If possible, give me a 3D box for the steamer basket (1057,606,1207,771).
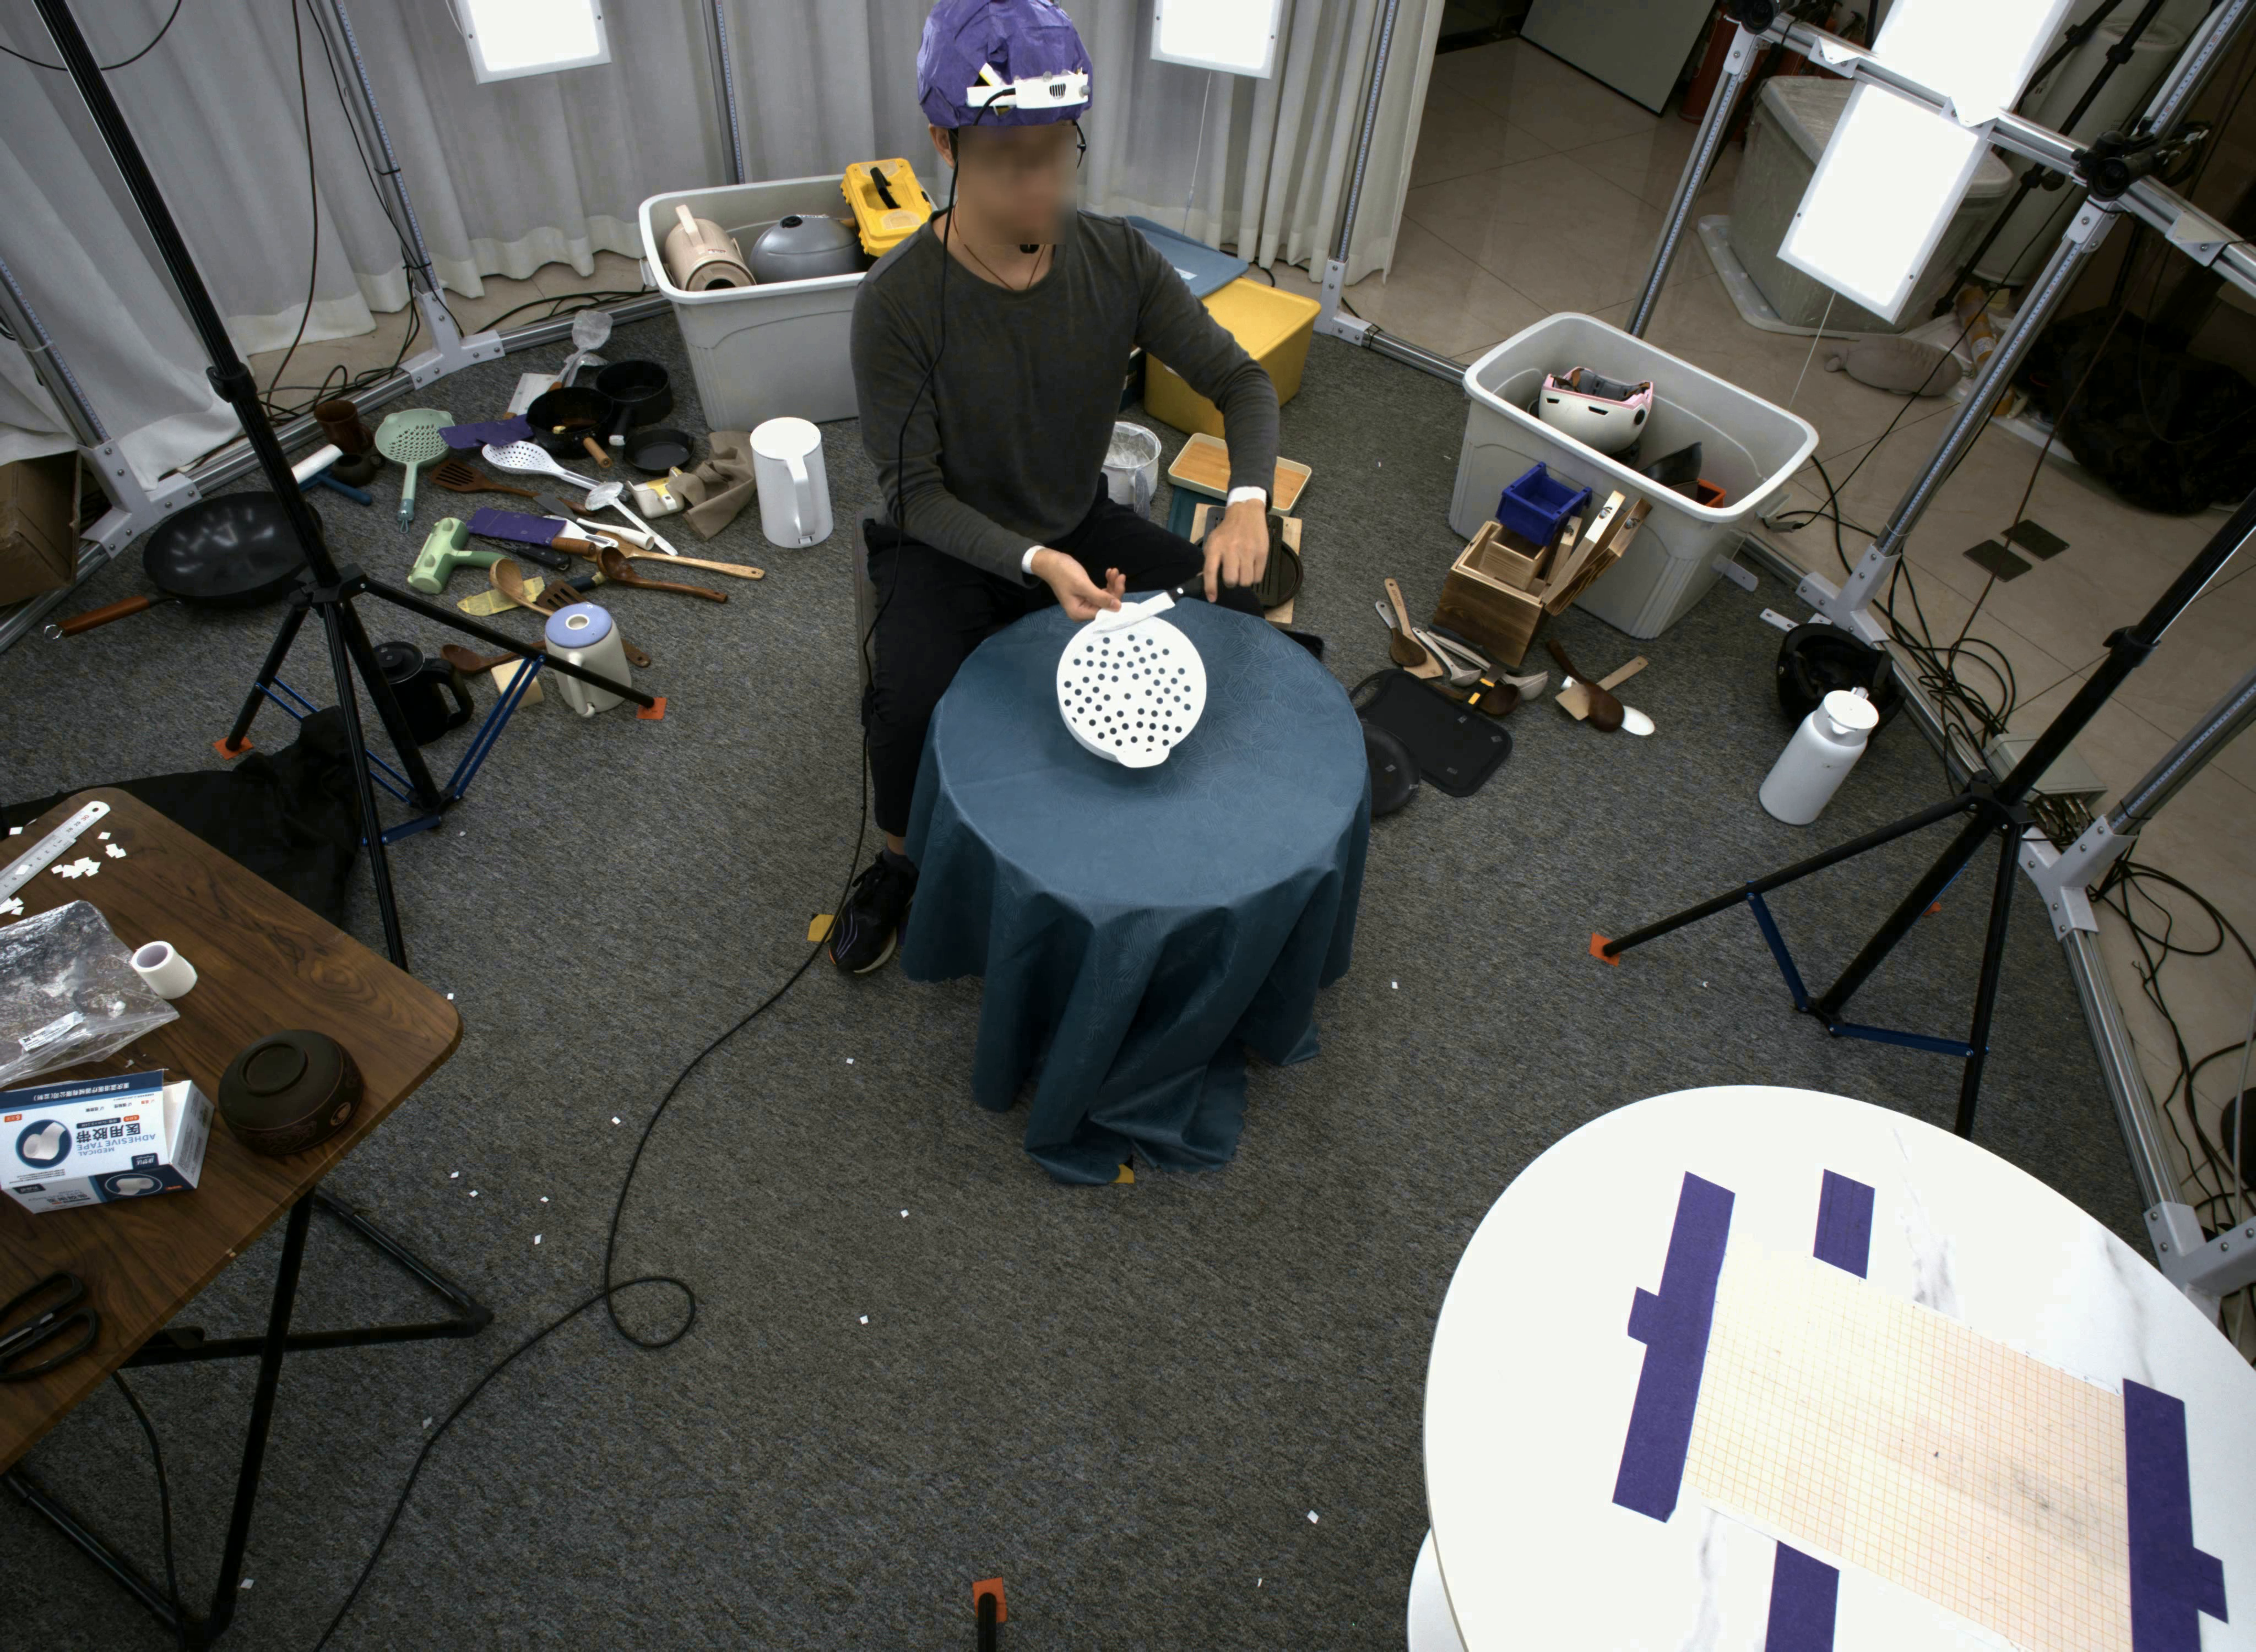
[{"bbox_3d":[0.003,-0.179,1.737,0.202,0.068,0.233,-7,77,-7],"label":"steamer basket"}]

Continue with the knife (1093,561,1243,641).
[{"bbox_3d":[0.053,-0.301,1.714,0.239,0.016,0.024,-29,86,-17],"label":"knife"}]
